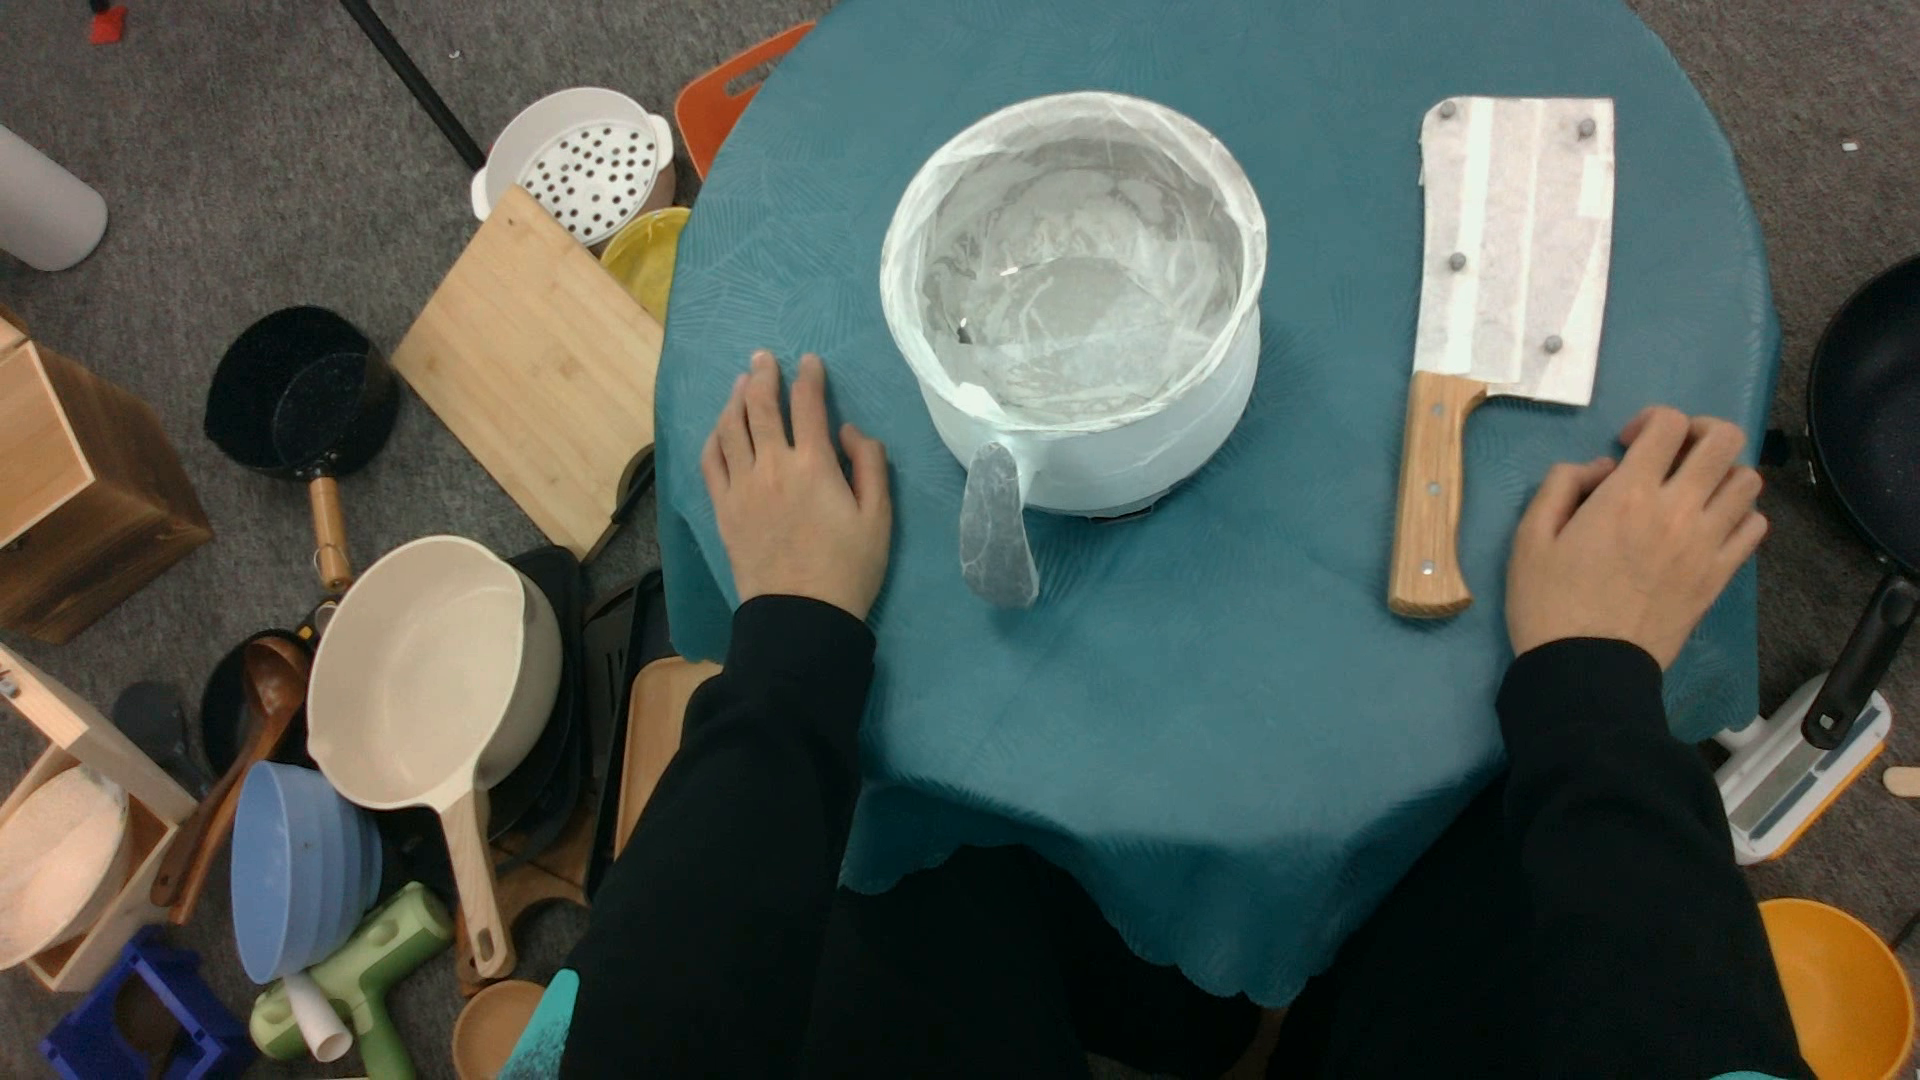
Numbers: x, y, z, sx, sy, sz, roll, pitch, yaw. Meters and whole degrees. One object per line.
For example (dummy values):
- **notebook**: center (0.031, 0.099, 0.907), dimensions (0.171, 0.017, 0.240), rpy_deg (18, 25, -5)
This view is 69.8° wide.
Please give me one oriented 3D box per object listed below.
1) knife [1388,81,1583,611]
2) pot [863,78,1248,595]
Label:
- **knife**: center (0.261, -0.112, 0.714), dimensions (0.114, 0.021, 0.316), rpy_deg (11, 72, 13)
- **pot**: center (0.044, -0.092, 0.682), dimensions (0.178, 0.136, 0.234), rpy_deg (15, 75, 15)
